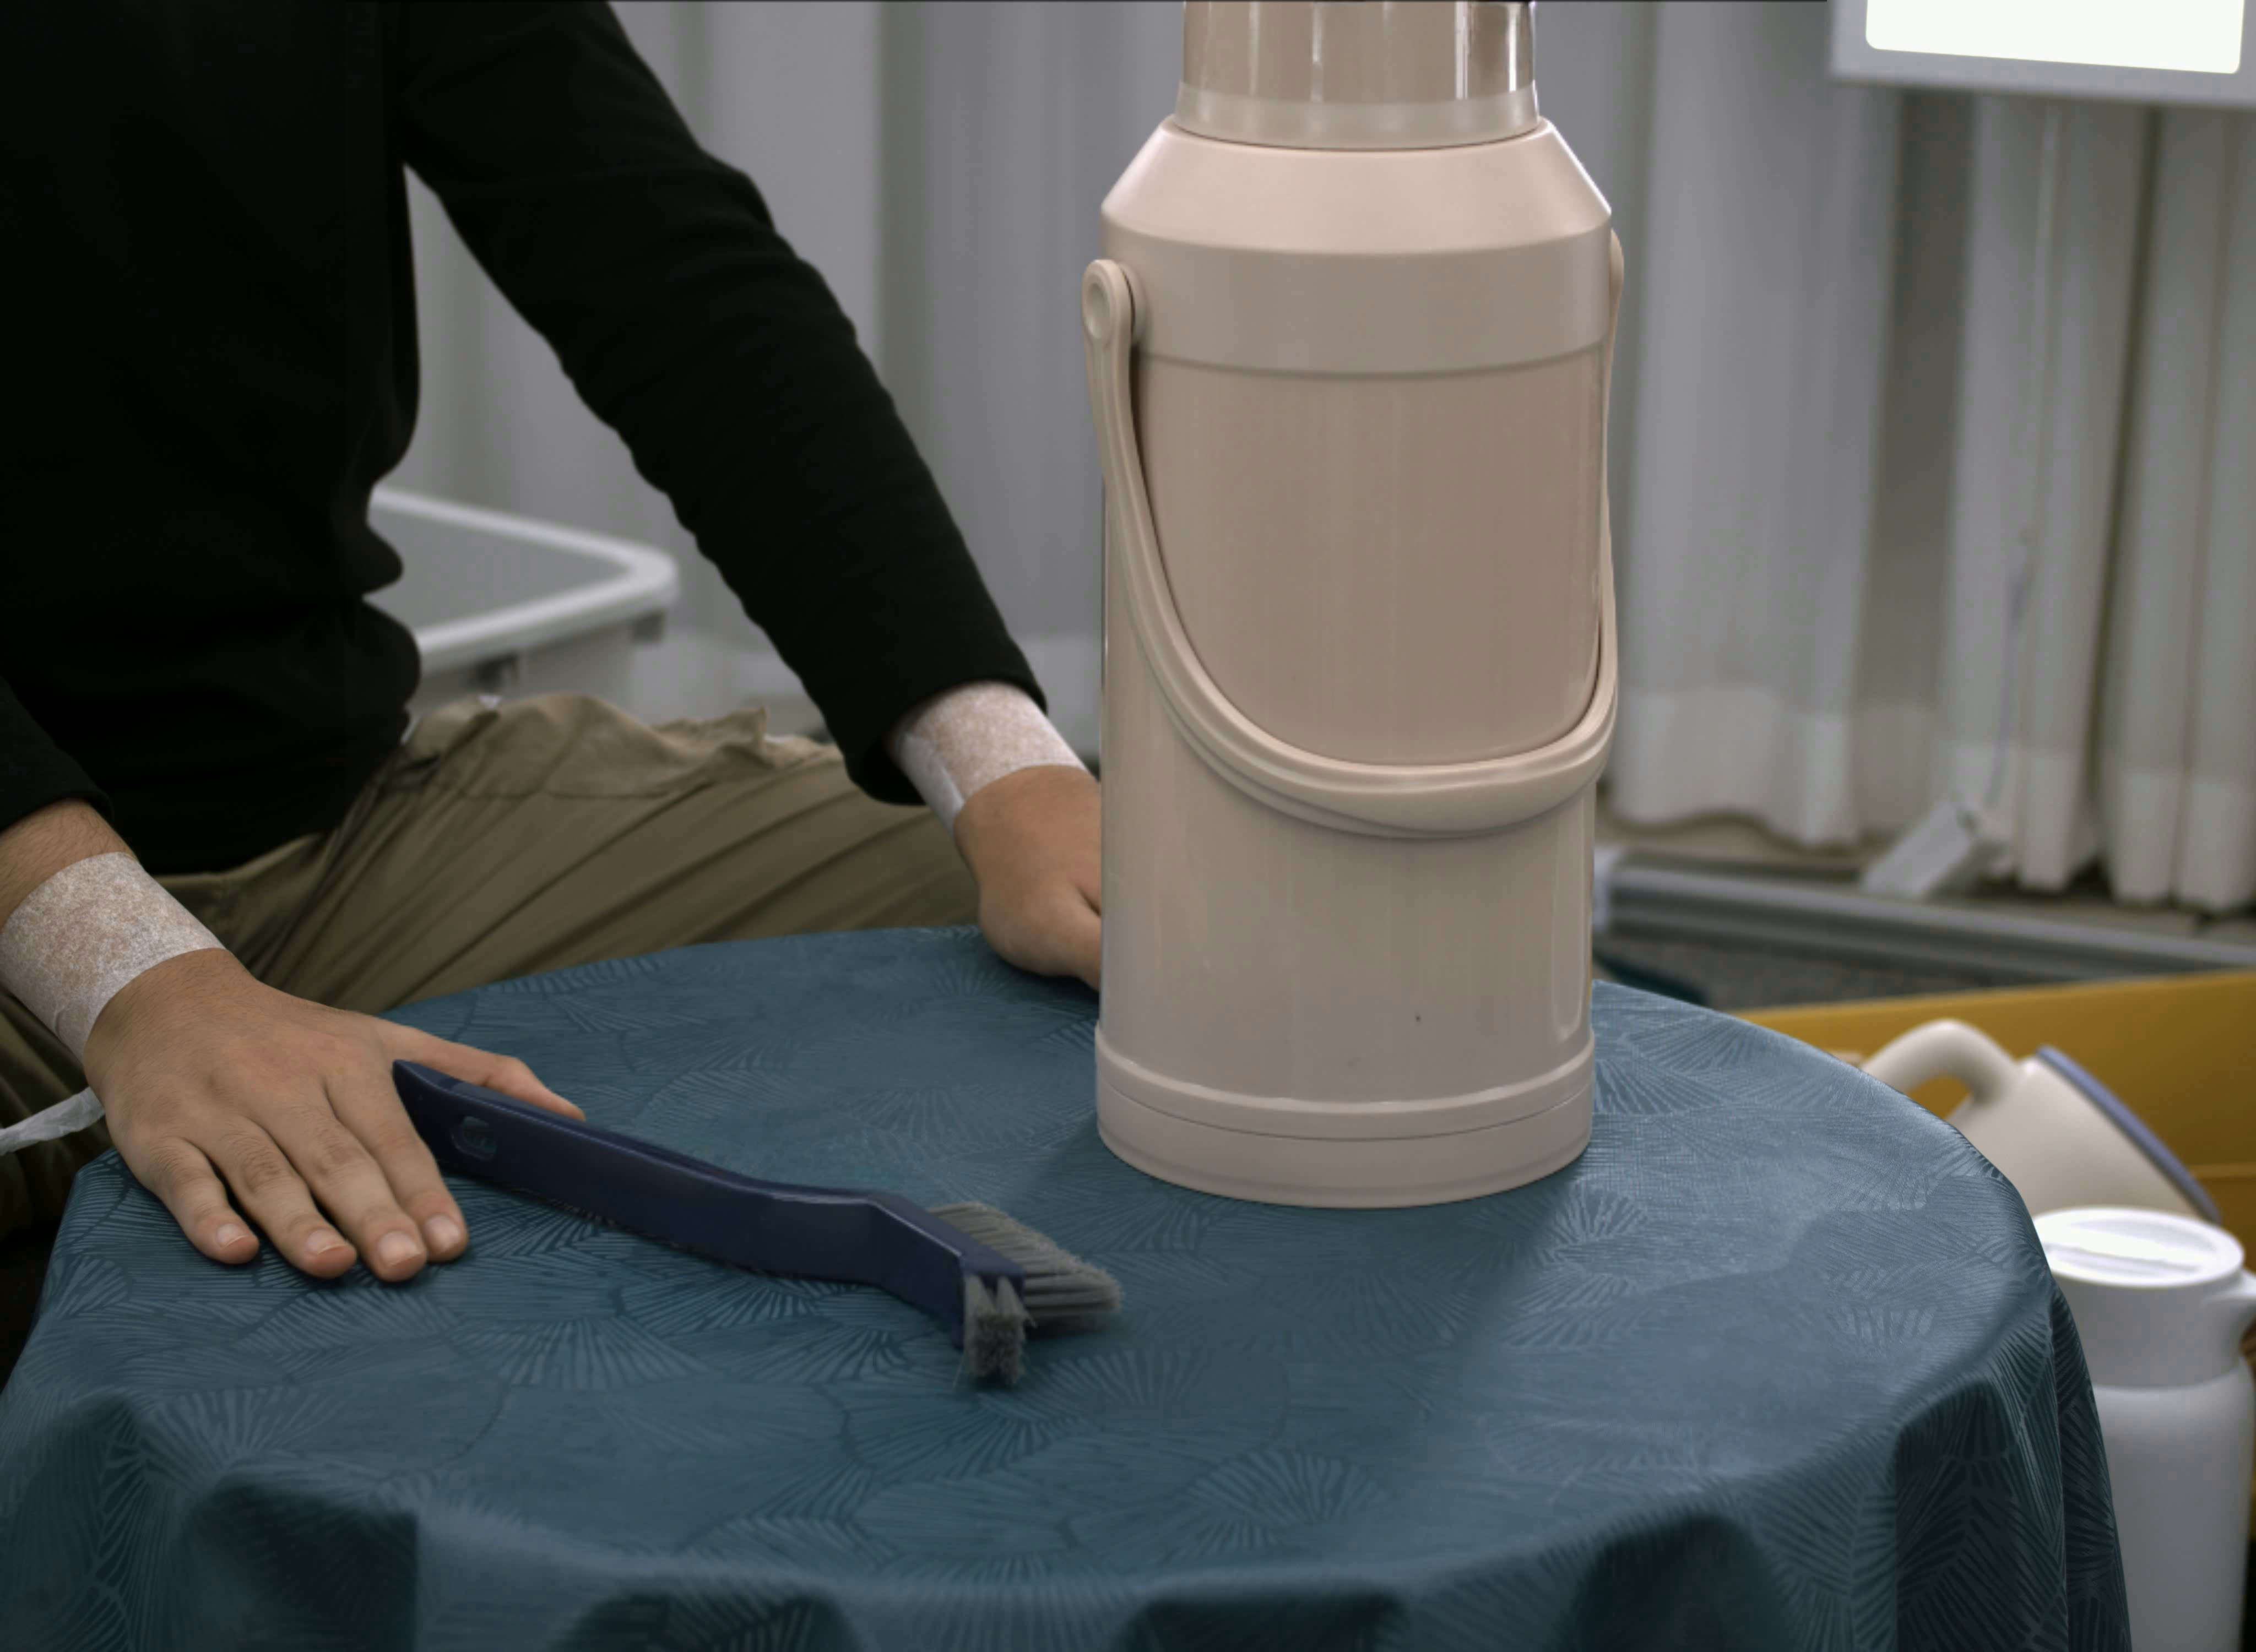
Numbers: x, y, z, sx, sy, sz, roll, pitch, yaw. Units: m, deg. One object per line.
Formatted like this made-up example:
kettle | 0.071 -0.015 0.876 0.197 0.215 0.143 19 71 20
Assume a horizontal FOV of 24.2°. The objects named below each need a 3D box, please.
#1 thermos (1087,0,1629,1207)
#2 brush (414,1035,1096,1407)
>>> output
thermos | 0.066 -0.099 1.639 0.176 0.410 0.204 -9 19 -25
brush | -0.128 0.113 1.553 0.270 0.034 0.096 13 19 32
